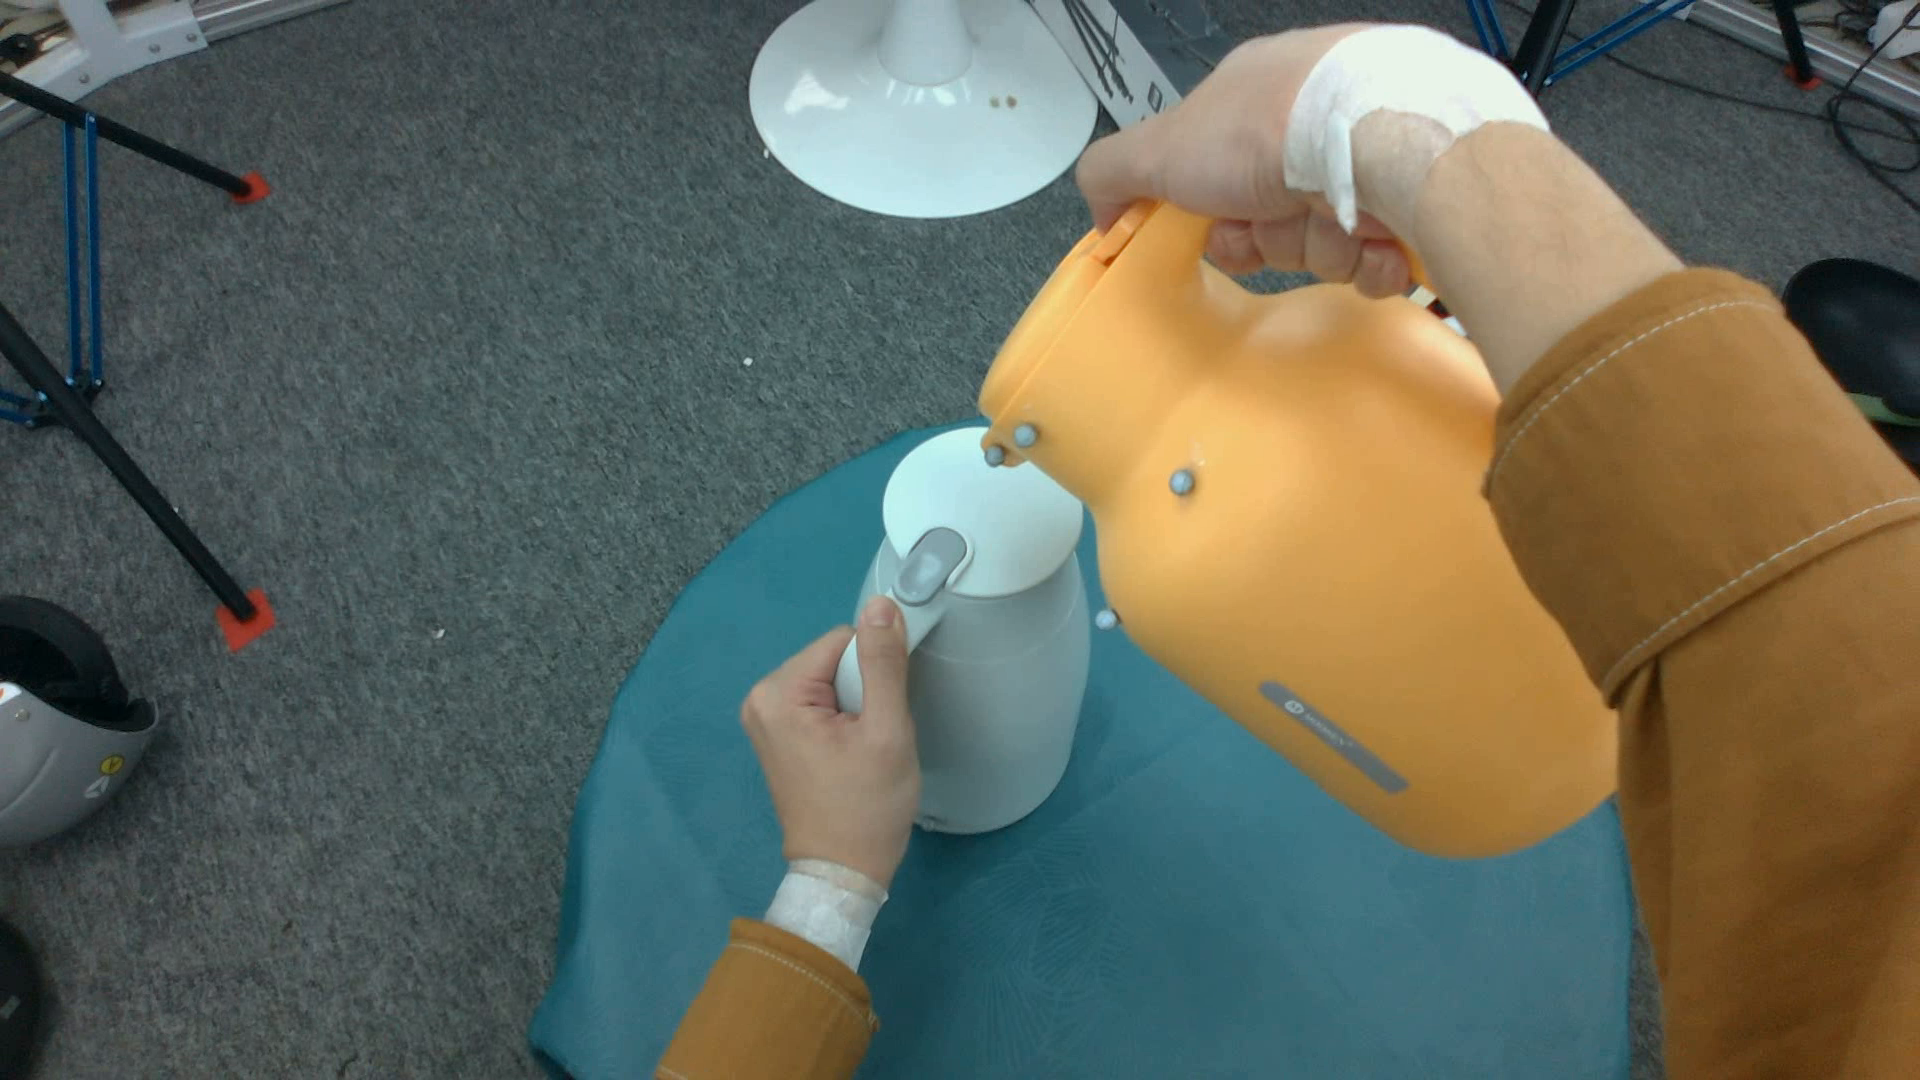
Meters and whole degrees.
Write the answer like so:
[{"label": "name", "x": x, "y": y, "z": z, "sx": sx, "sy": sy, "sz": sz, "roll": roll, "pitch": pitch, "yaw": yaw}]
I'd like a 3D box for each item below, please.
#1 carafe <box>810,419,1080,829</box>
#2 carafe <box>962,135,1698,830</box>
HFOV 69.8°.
[{"label": "carafe", "x": -0.011, "y": 0.057, "z": 0.712, "sx": 0.132, "sy": 0.247, "sz": 0.168, "roll": 35, "pitch": 63, "yaw": 18}, {"label": "carafe", "x": 0.134, "y": -0.025, "z": 0.504, "sx": 0.260, "sy": 0.201, "sz": 0.164, "roll": 33, "pitch": 54, "yaw": -3}]
